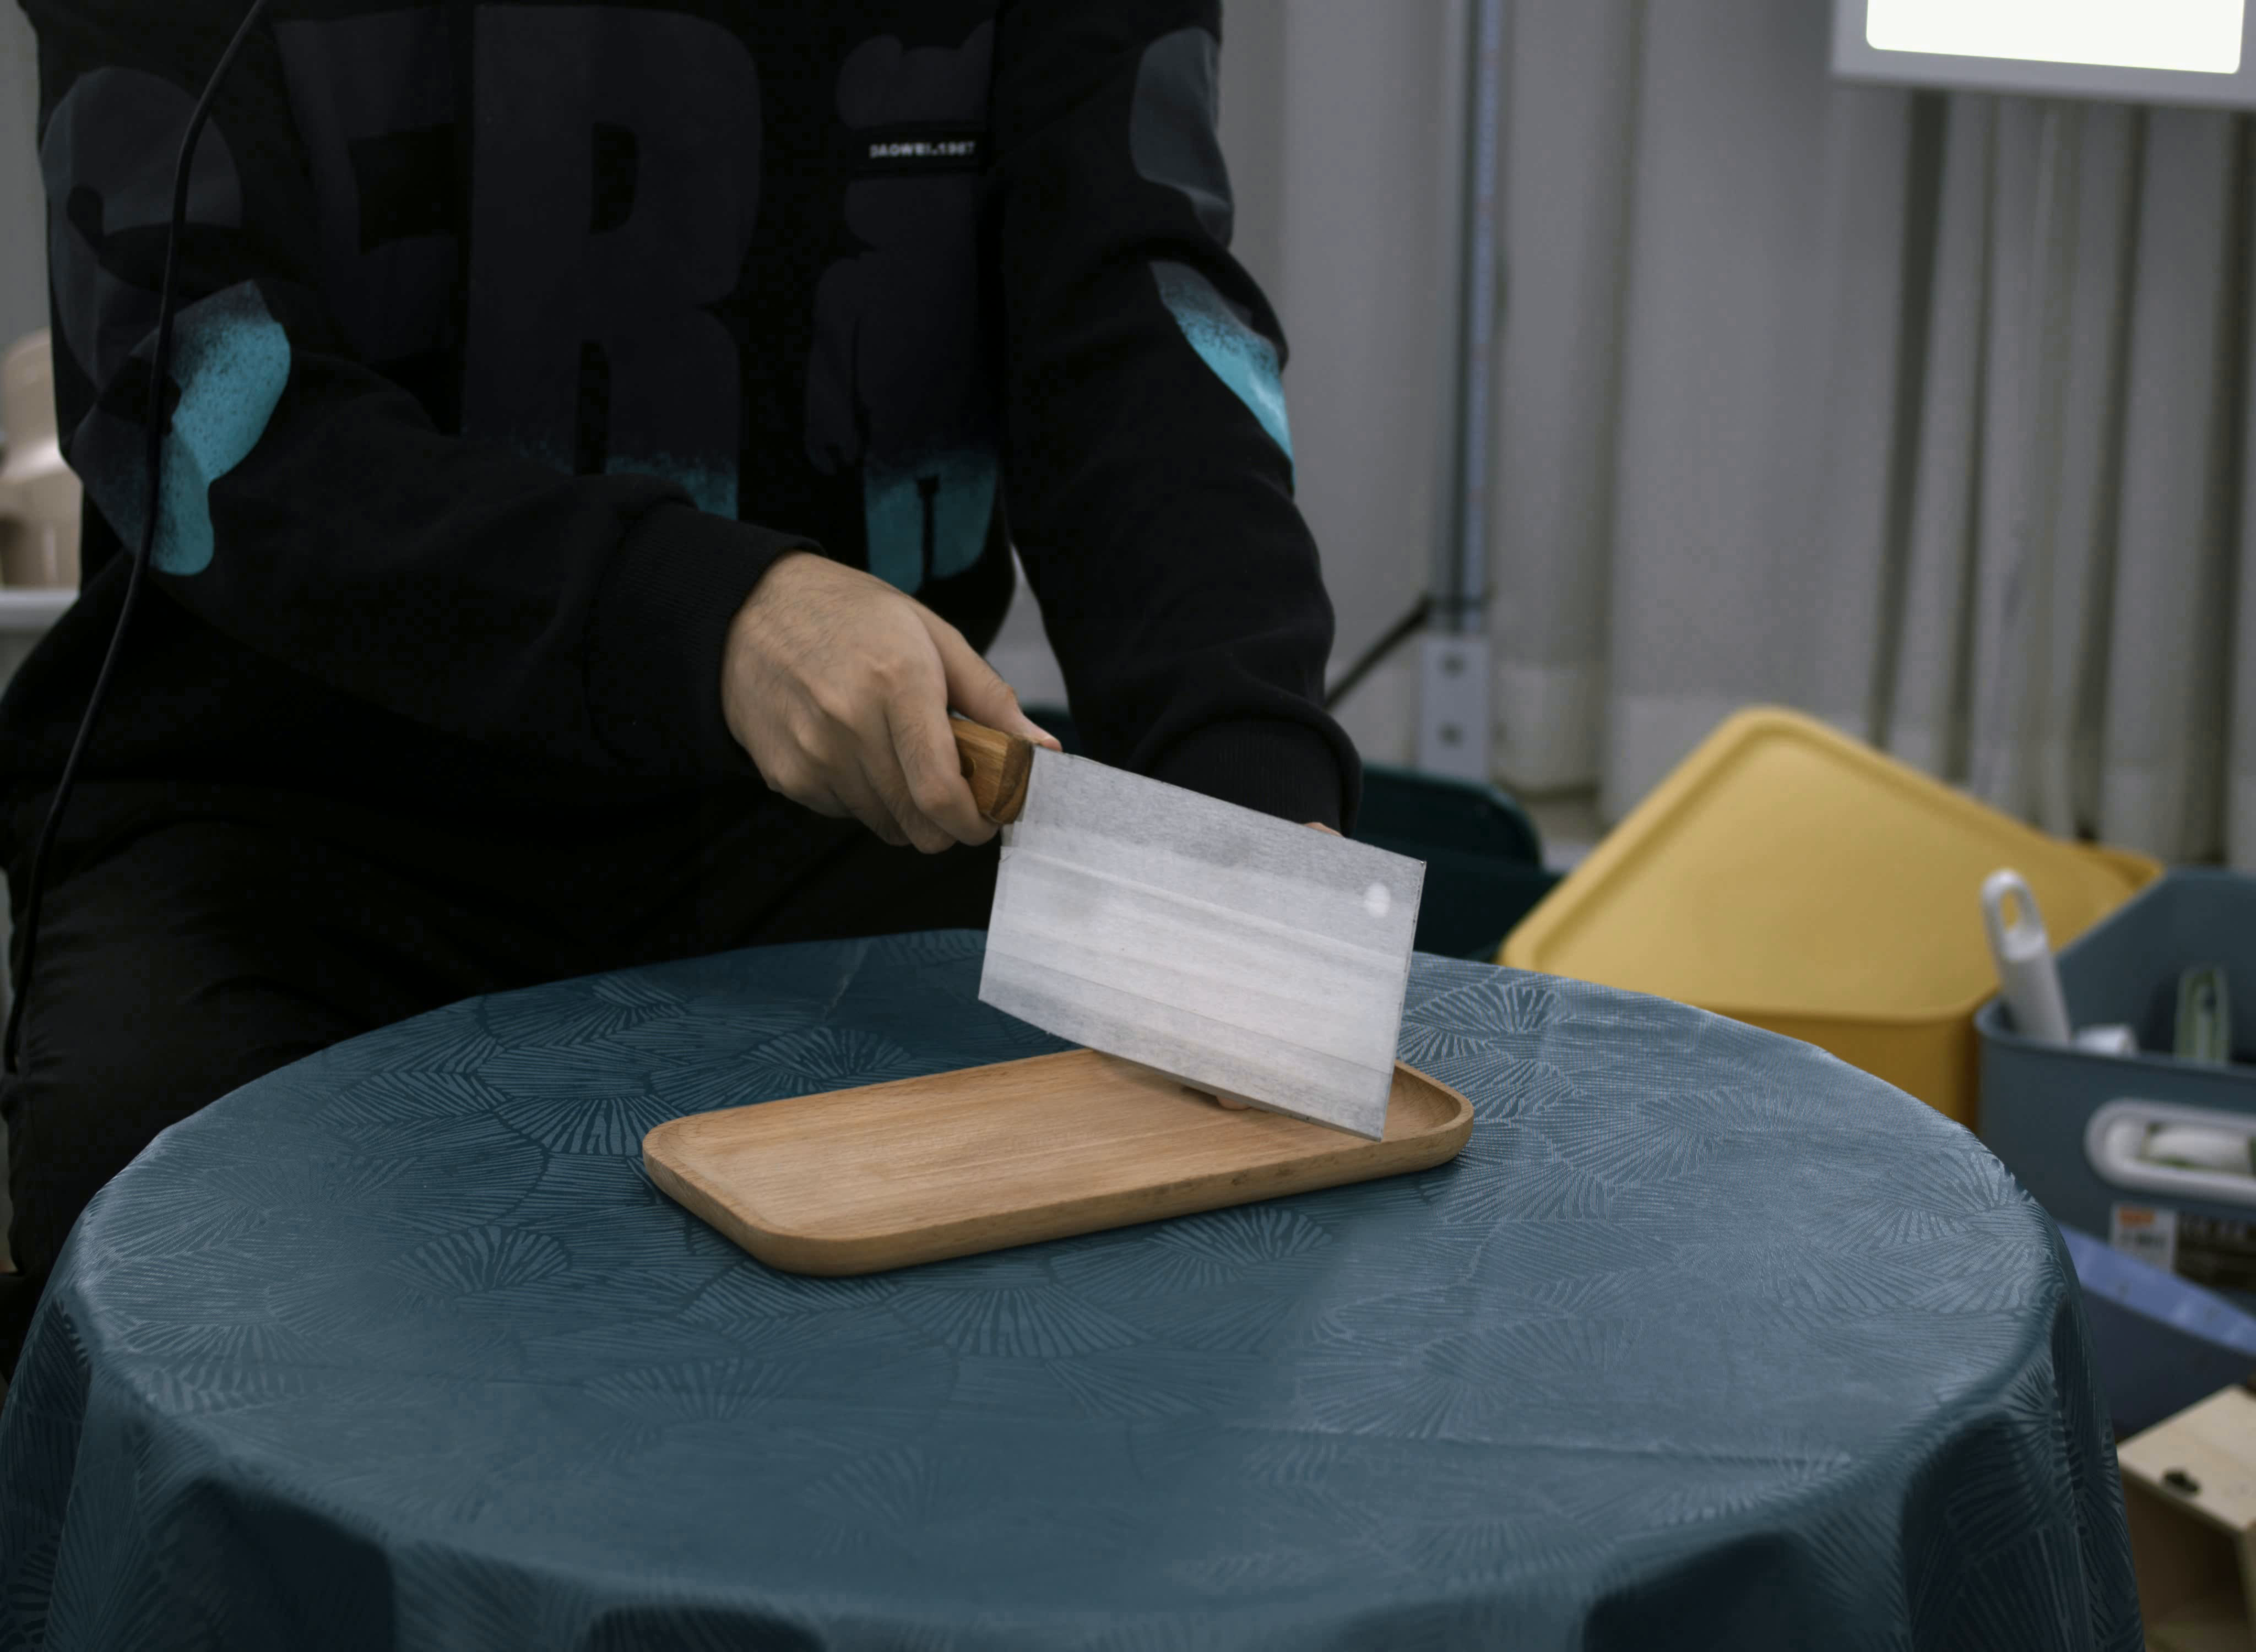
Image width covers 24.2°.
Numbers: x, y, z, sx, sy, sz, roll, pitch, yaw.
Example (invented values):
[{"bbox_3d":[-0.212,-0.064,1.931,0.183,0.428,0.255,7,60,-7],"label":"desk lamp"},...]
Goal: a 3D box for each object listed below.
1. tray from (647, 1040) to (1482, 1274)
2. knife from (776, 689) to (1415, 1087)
[{"bbox_3d":[-0.019,0.099,1.640,0.252,0.023,0.129,-6,19,-27],"label":"tray"},{"bbox_3d":[-0.018,0.020,1.715,0.021,0.093,0.301,-2,13,-44],"label":"knife"}]
